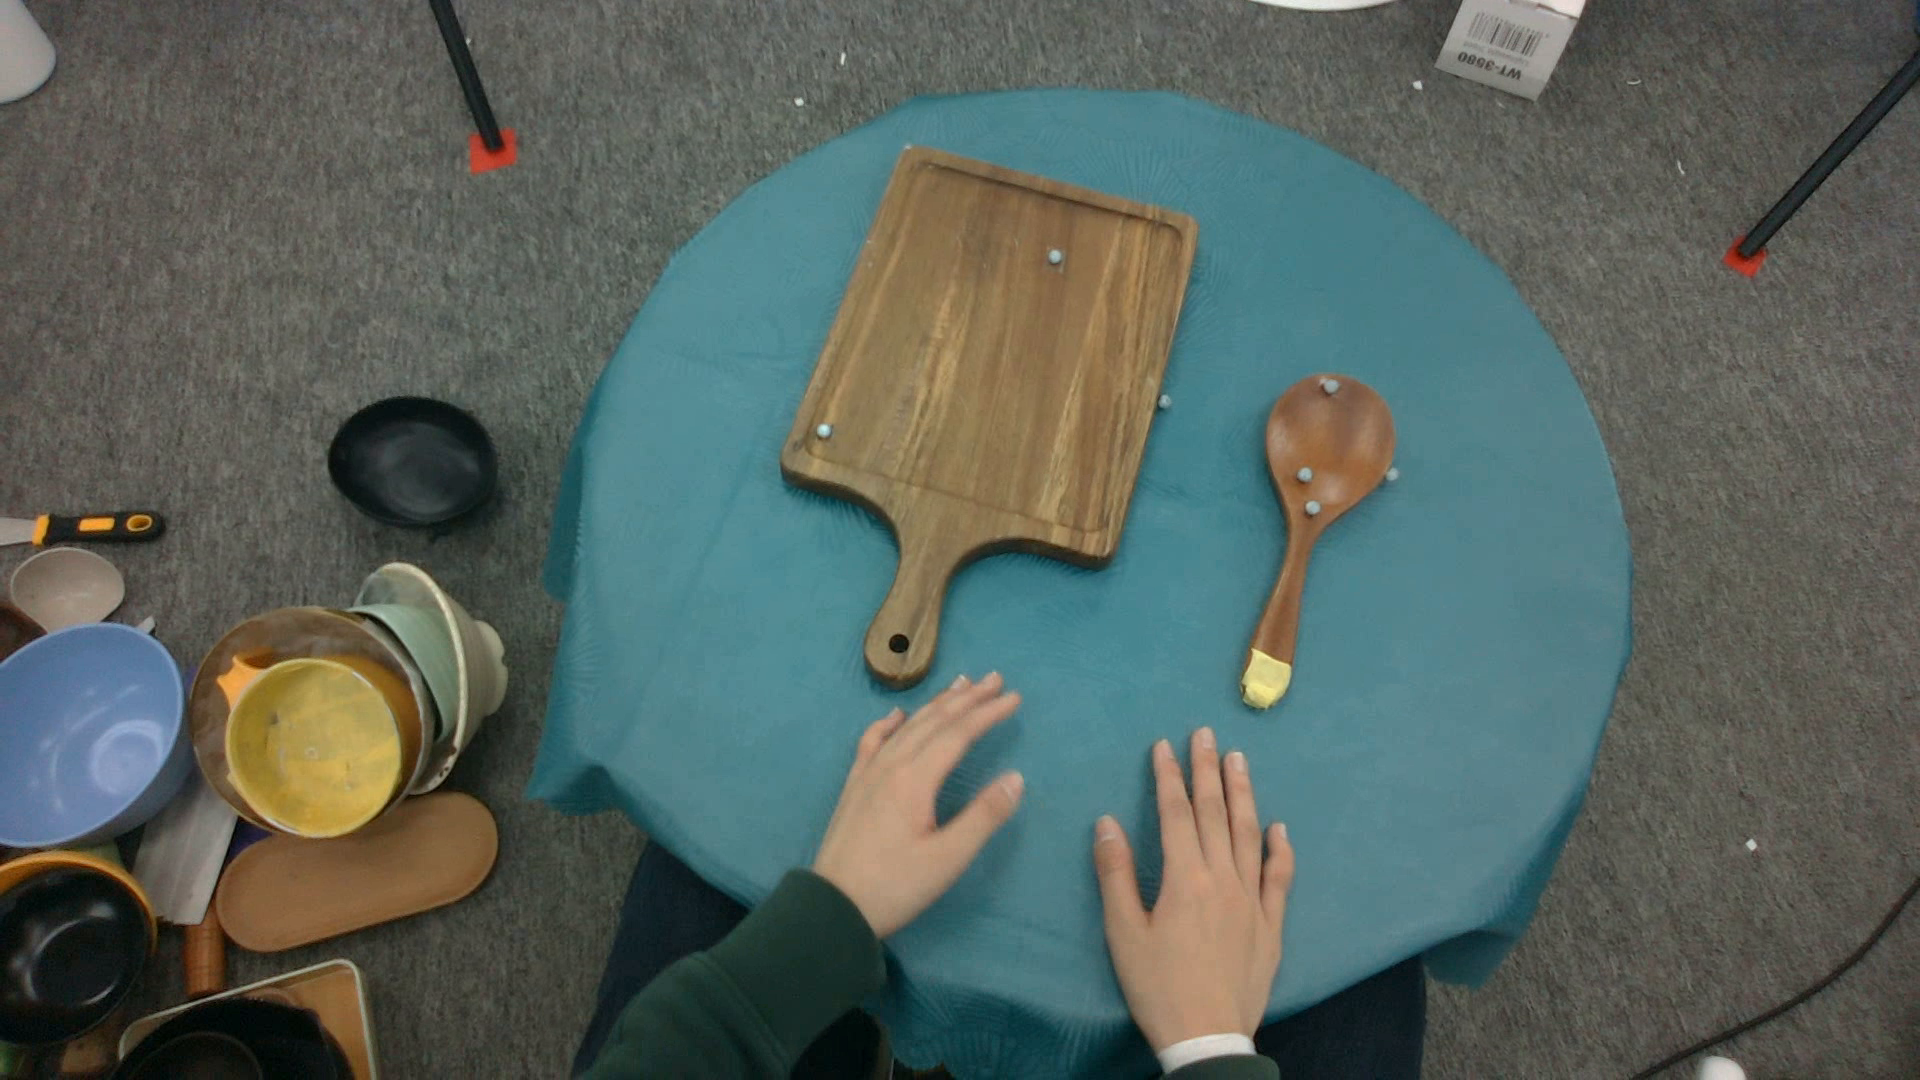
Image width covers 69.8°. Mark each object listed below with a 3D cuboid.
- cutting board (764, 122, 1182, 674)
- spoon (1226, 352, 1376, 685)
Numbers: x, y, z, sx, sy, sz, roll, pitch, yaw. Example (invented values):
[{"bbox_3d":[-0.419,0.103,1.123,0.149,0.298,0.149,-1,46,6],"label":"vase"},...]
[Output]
[{"bbox_3d":[0.002,-0.087,0.795,0.201,0.023,0.353,16,64,2],"label":"cutting board"},{"bbox_3d":[0.184,-0.016,0.774,0.075,0.017,0.217,19,64,3],"label":"spoon"}]
